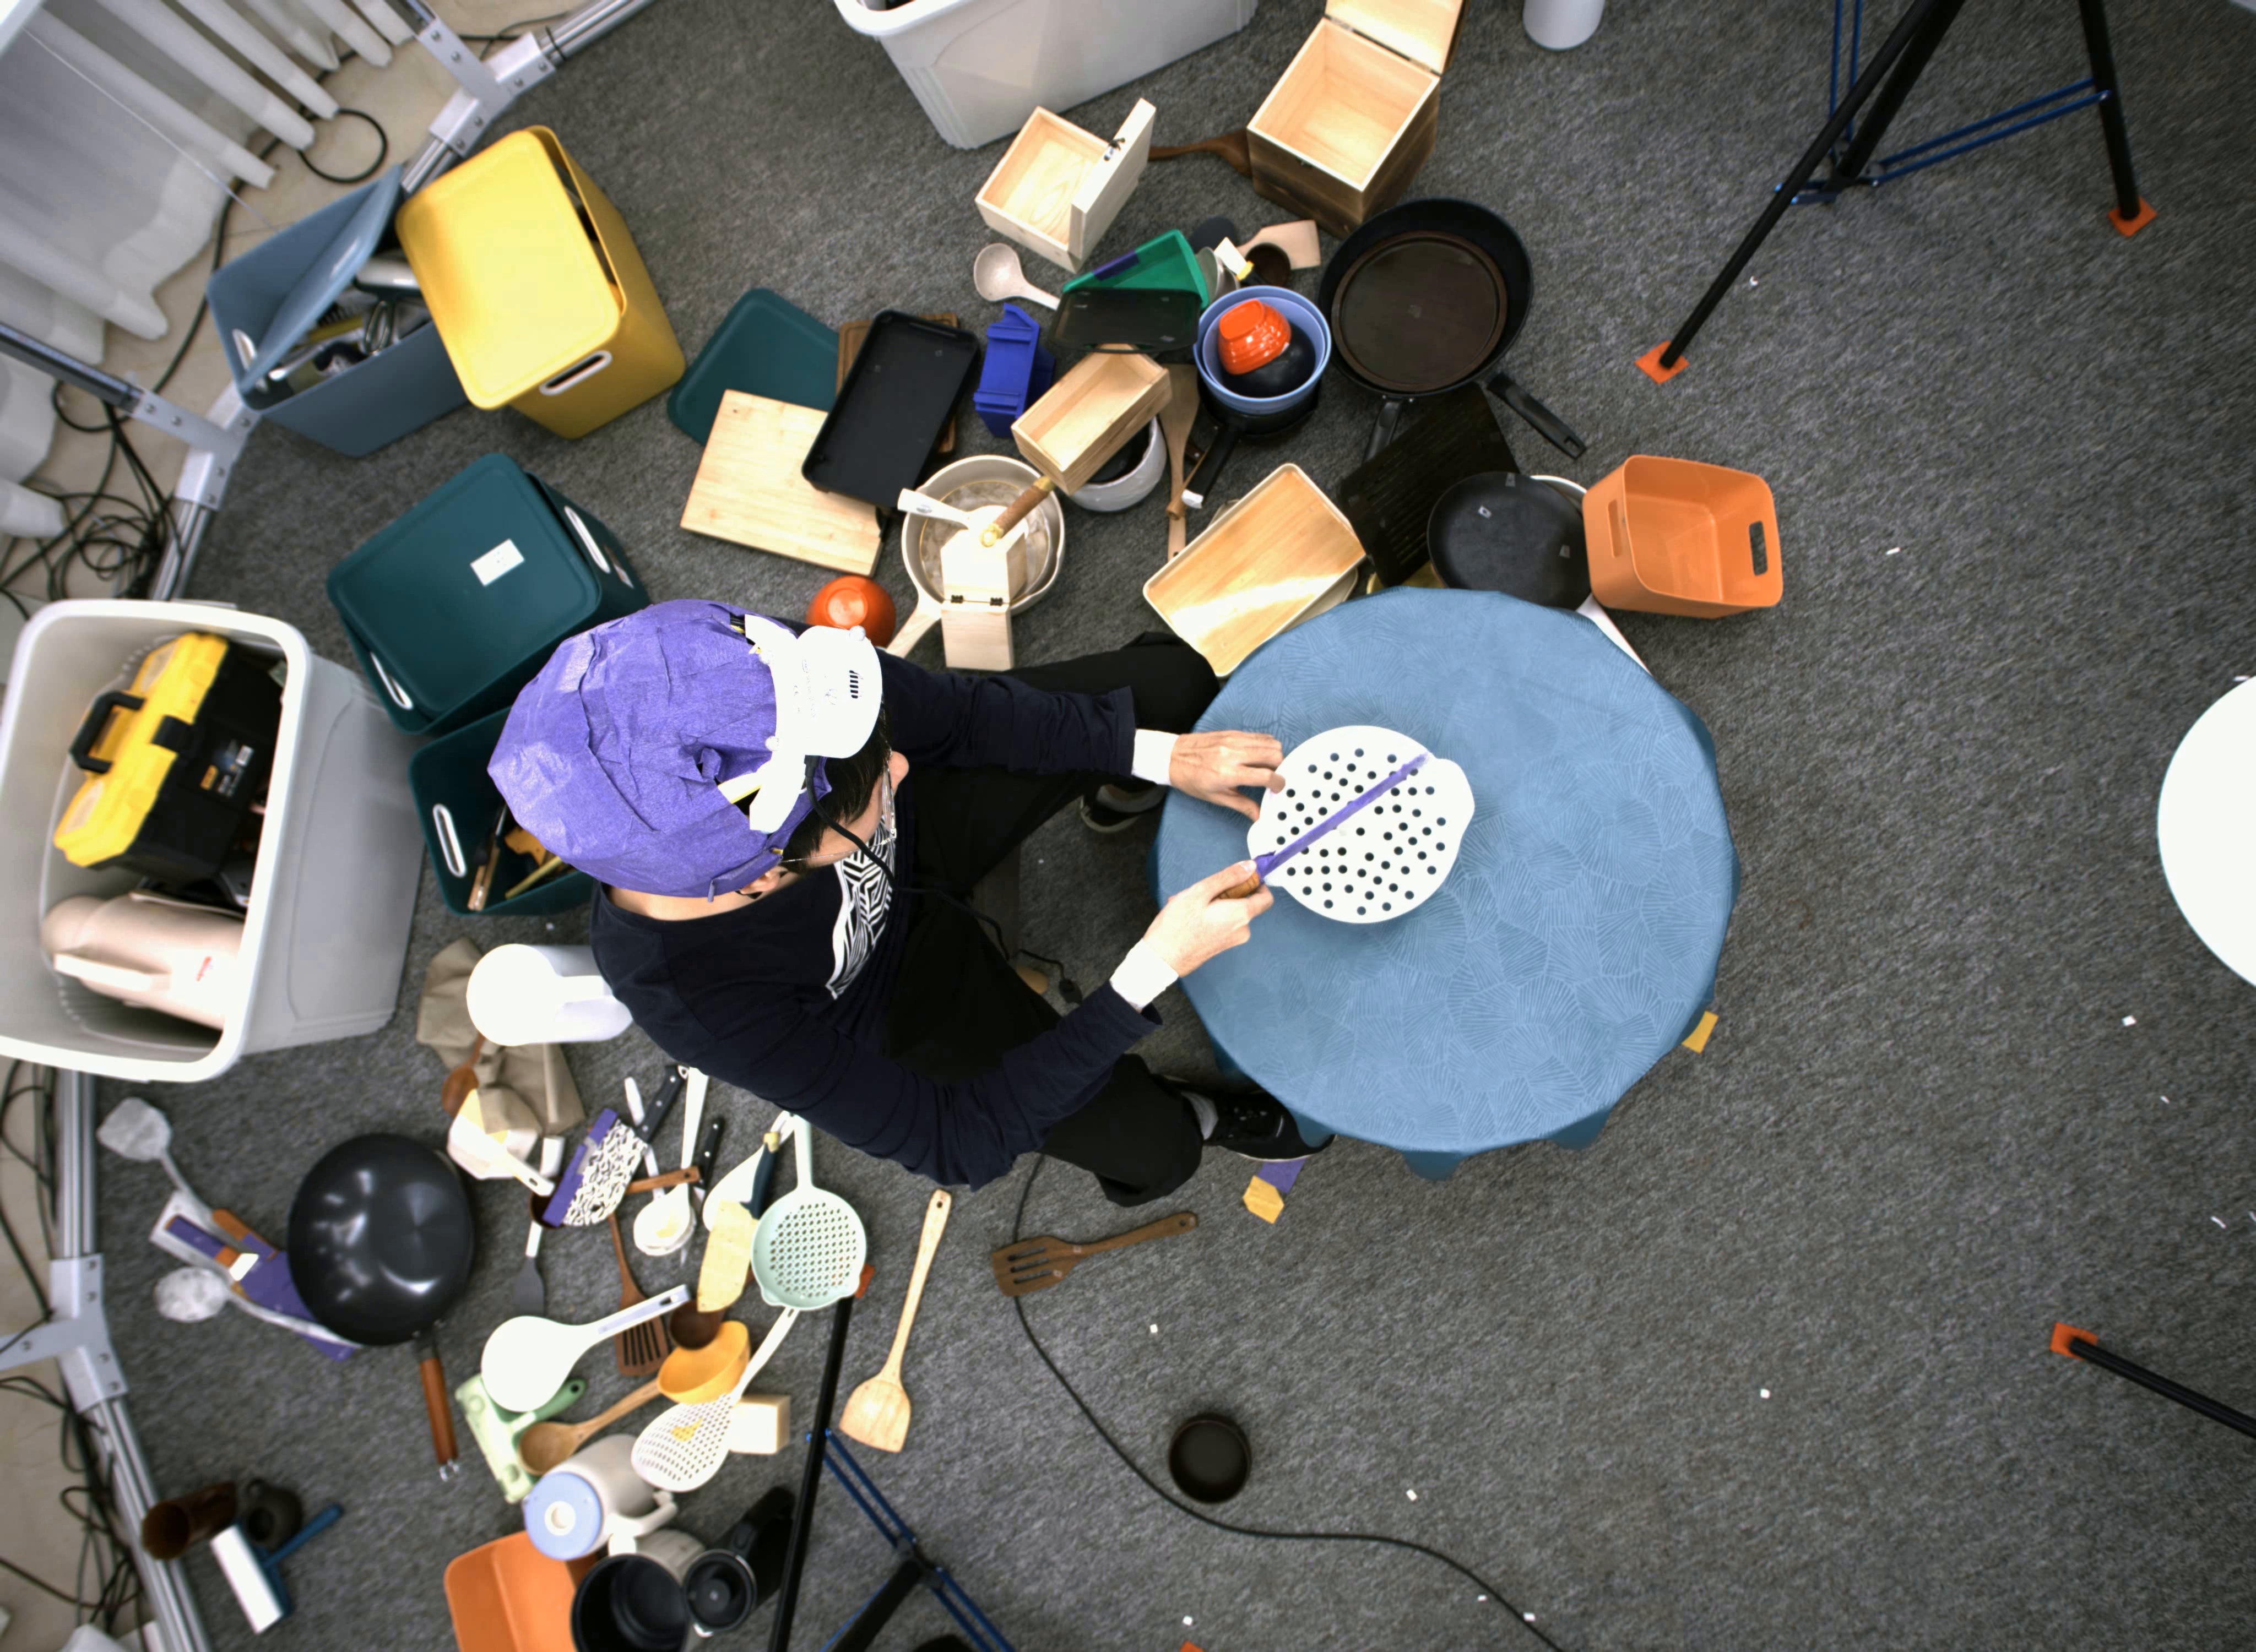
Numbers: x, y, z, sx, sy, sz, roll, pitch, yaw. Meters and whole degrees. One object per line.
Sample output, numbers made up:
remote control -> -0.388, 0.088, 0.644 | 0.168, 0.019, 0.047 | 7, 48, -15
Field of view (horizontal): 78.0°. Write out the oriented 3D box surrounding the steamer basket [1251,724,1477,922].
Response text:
steamer basket -> 0.243, -0.002, 1.418 | 0.232, 0.069, 0.200 | -20, 80, 12

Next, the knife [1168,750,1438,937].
knife -> 0.172, 0.022, 1.356 | 0.313, 0.105, 0.032 | -31, 76, -11
